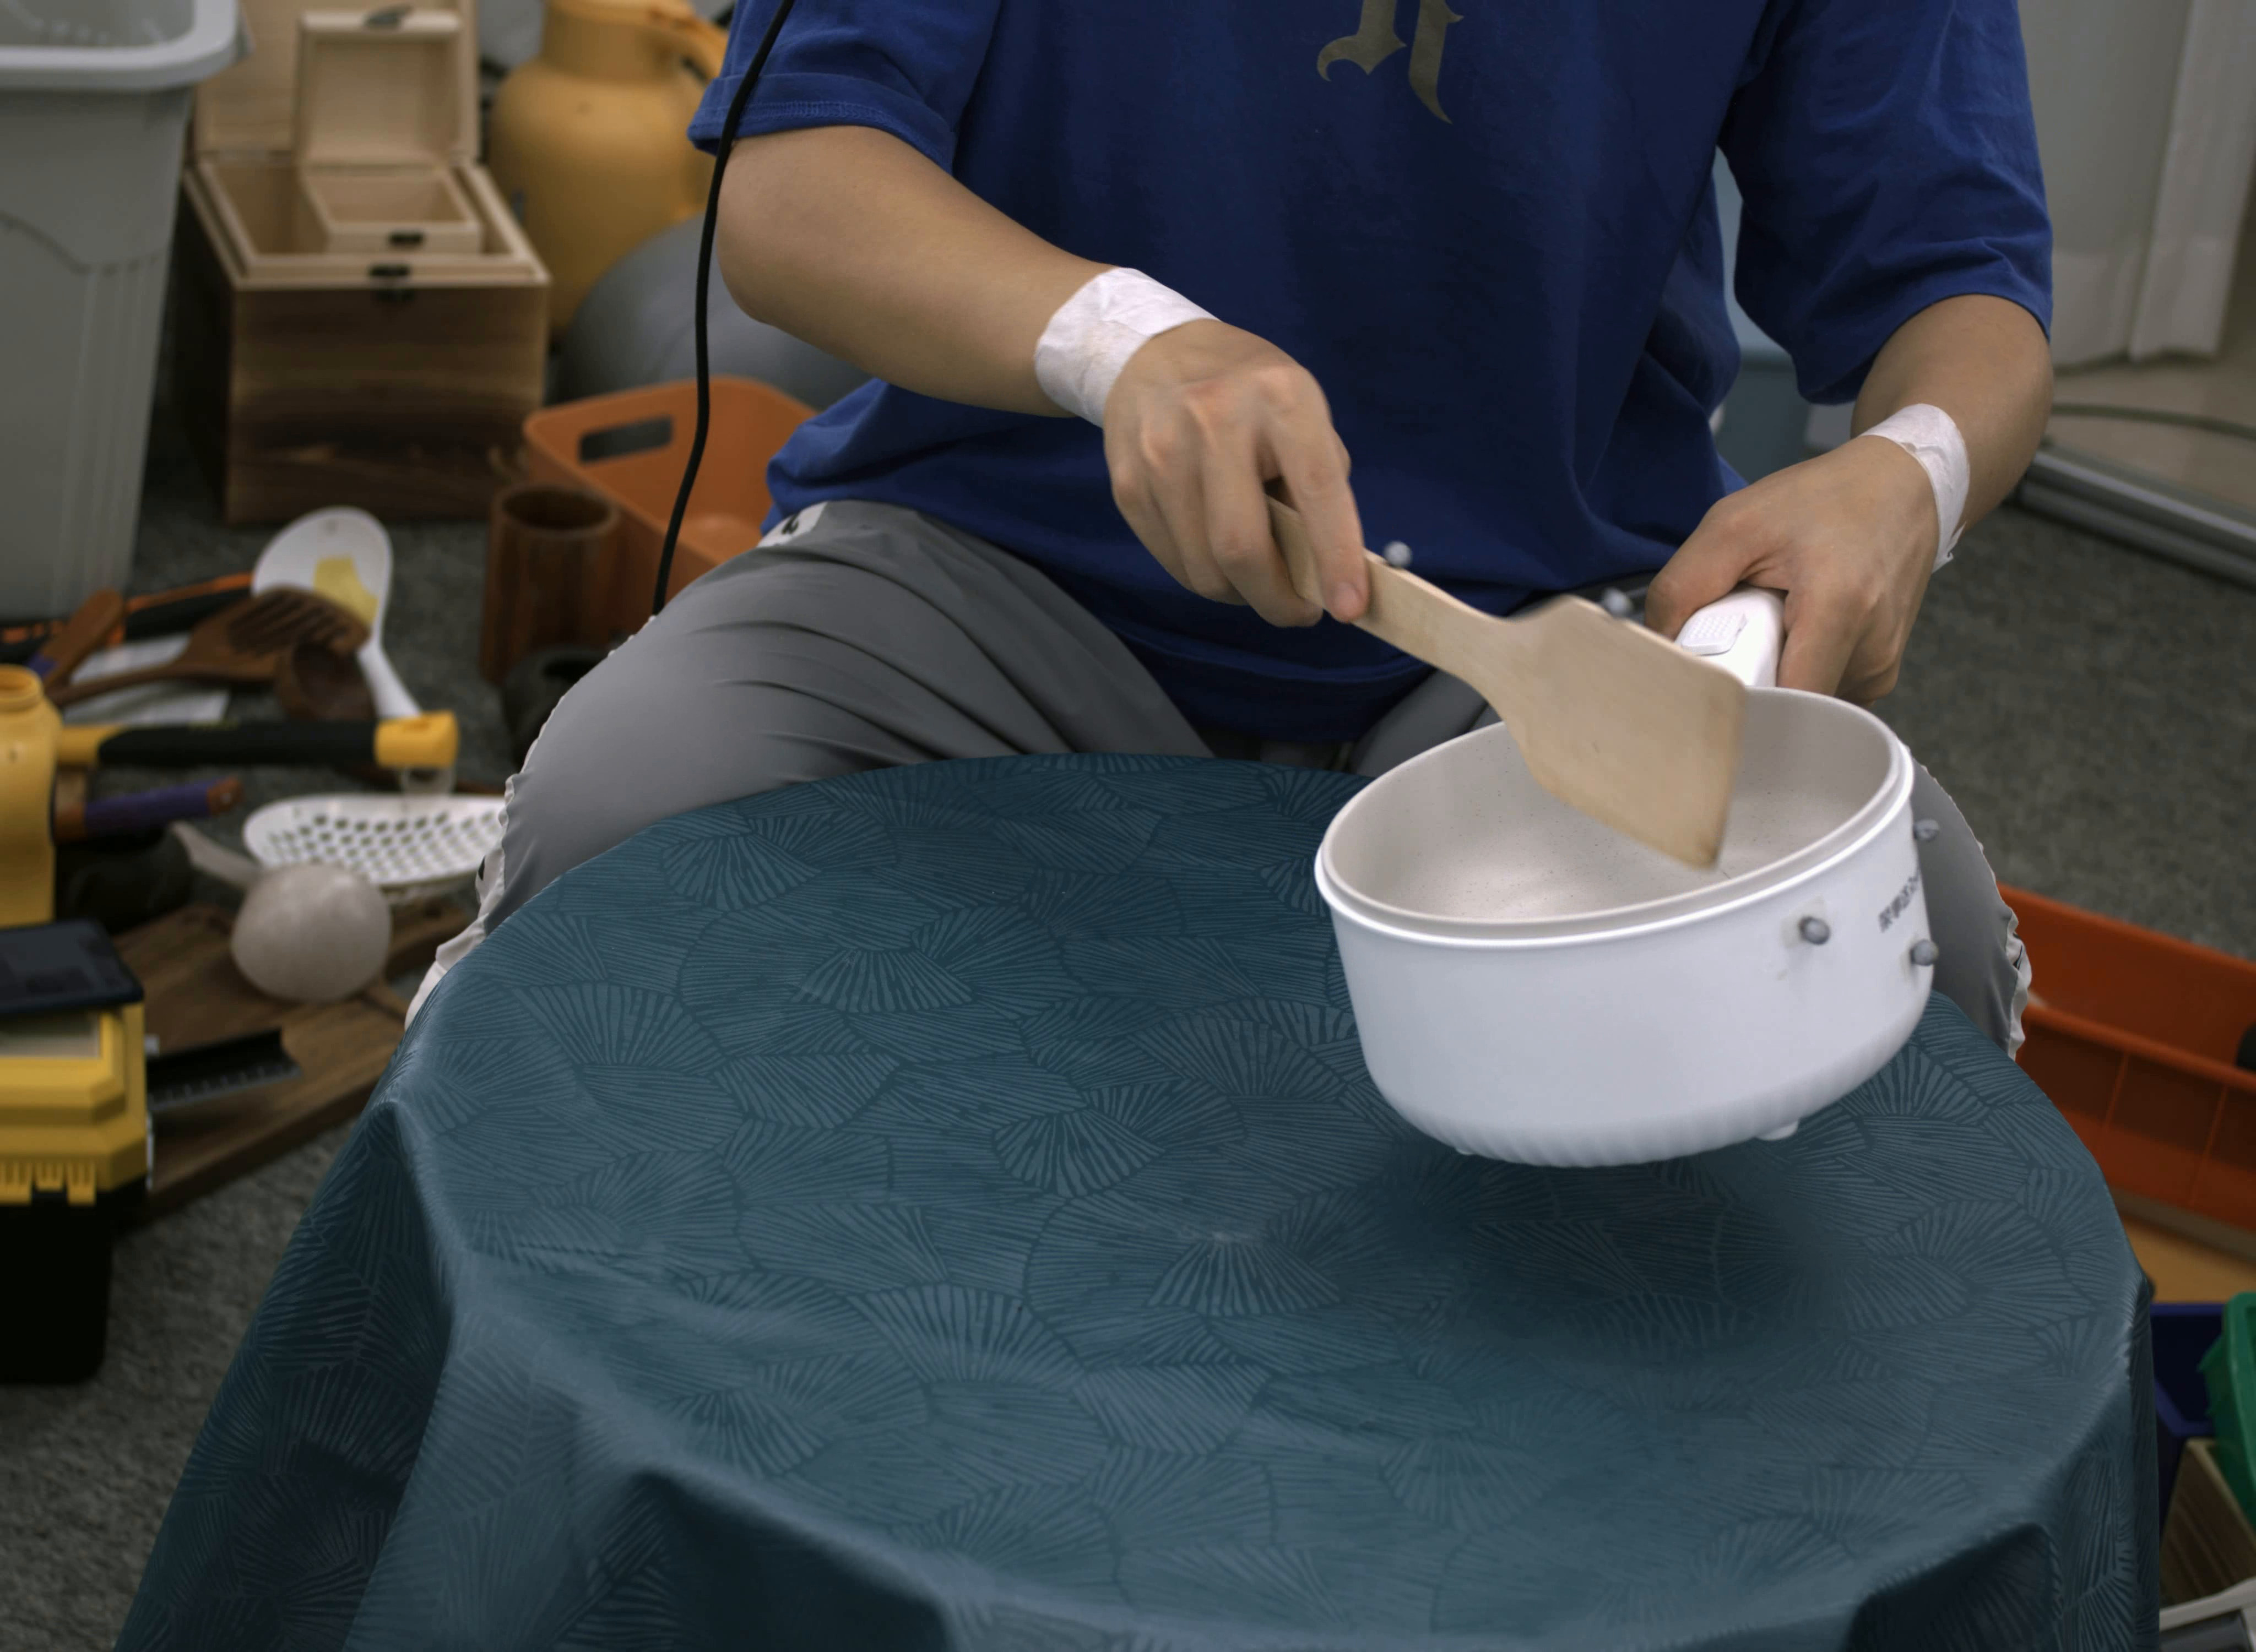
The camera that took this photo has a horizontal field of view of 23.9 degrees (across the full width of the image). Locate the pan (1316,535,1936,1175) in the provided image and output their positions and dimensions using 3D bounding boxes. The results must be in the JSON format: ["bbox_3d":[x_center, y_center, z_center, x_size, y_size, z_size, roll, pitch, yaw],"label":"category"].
[{"bbox_3d":[0.193,0.008,1.846,0.201,0.102,0.355,-7,21,22],"label":"pan"}]

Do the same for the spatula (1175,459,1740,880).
[{"bbox_3d":[0.105,-0.068,1.835,0.010,0.072,0.295,-7,27,-37],"label":"spatula"}]
